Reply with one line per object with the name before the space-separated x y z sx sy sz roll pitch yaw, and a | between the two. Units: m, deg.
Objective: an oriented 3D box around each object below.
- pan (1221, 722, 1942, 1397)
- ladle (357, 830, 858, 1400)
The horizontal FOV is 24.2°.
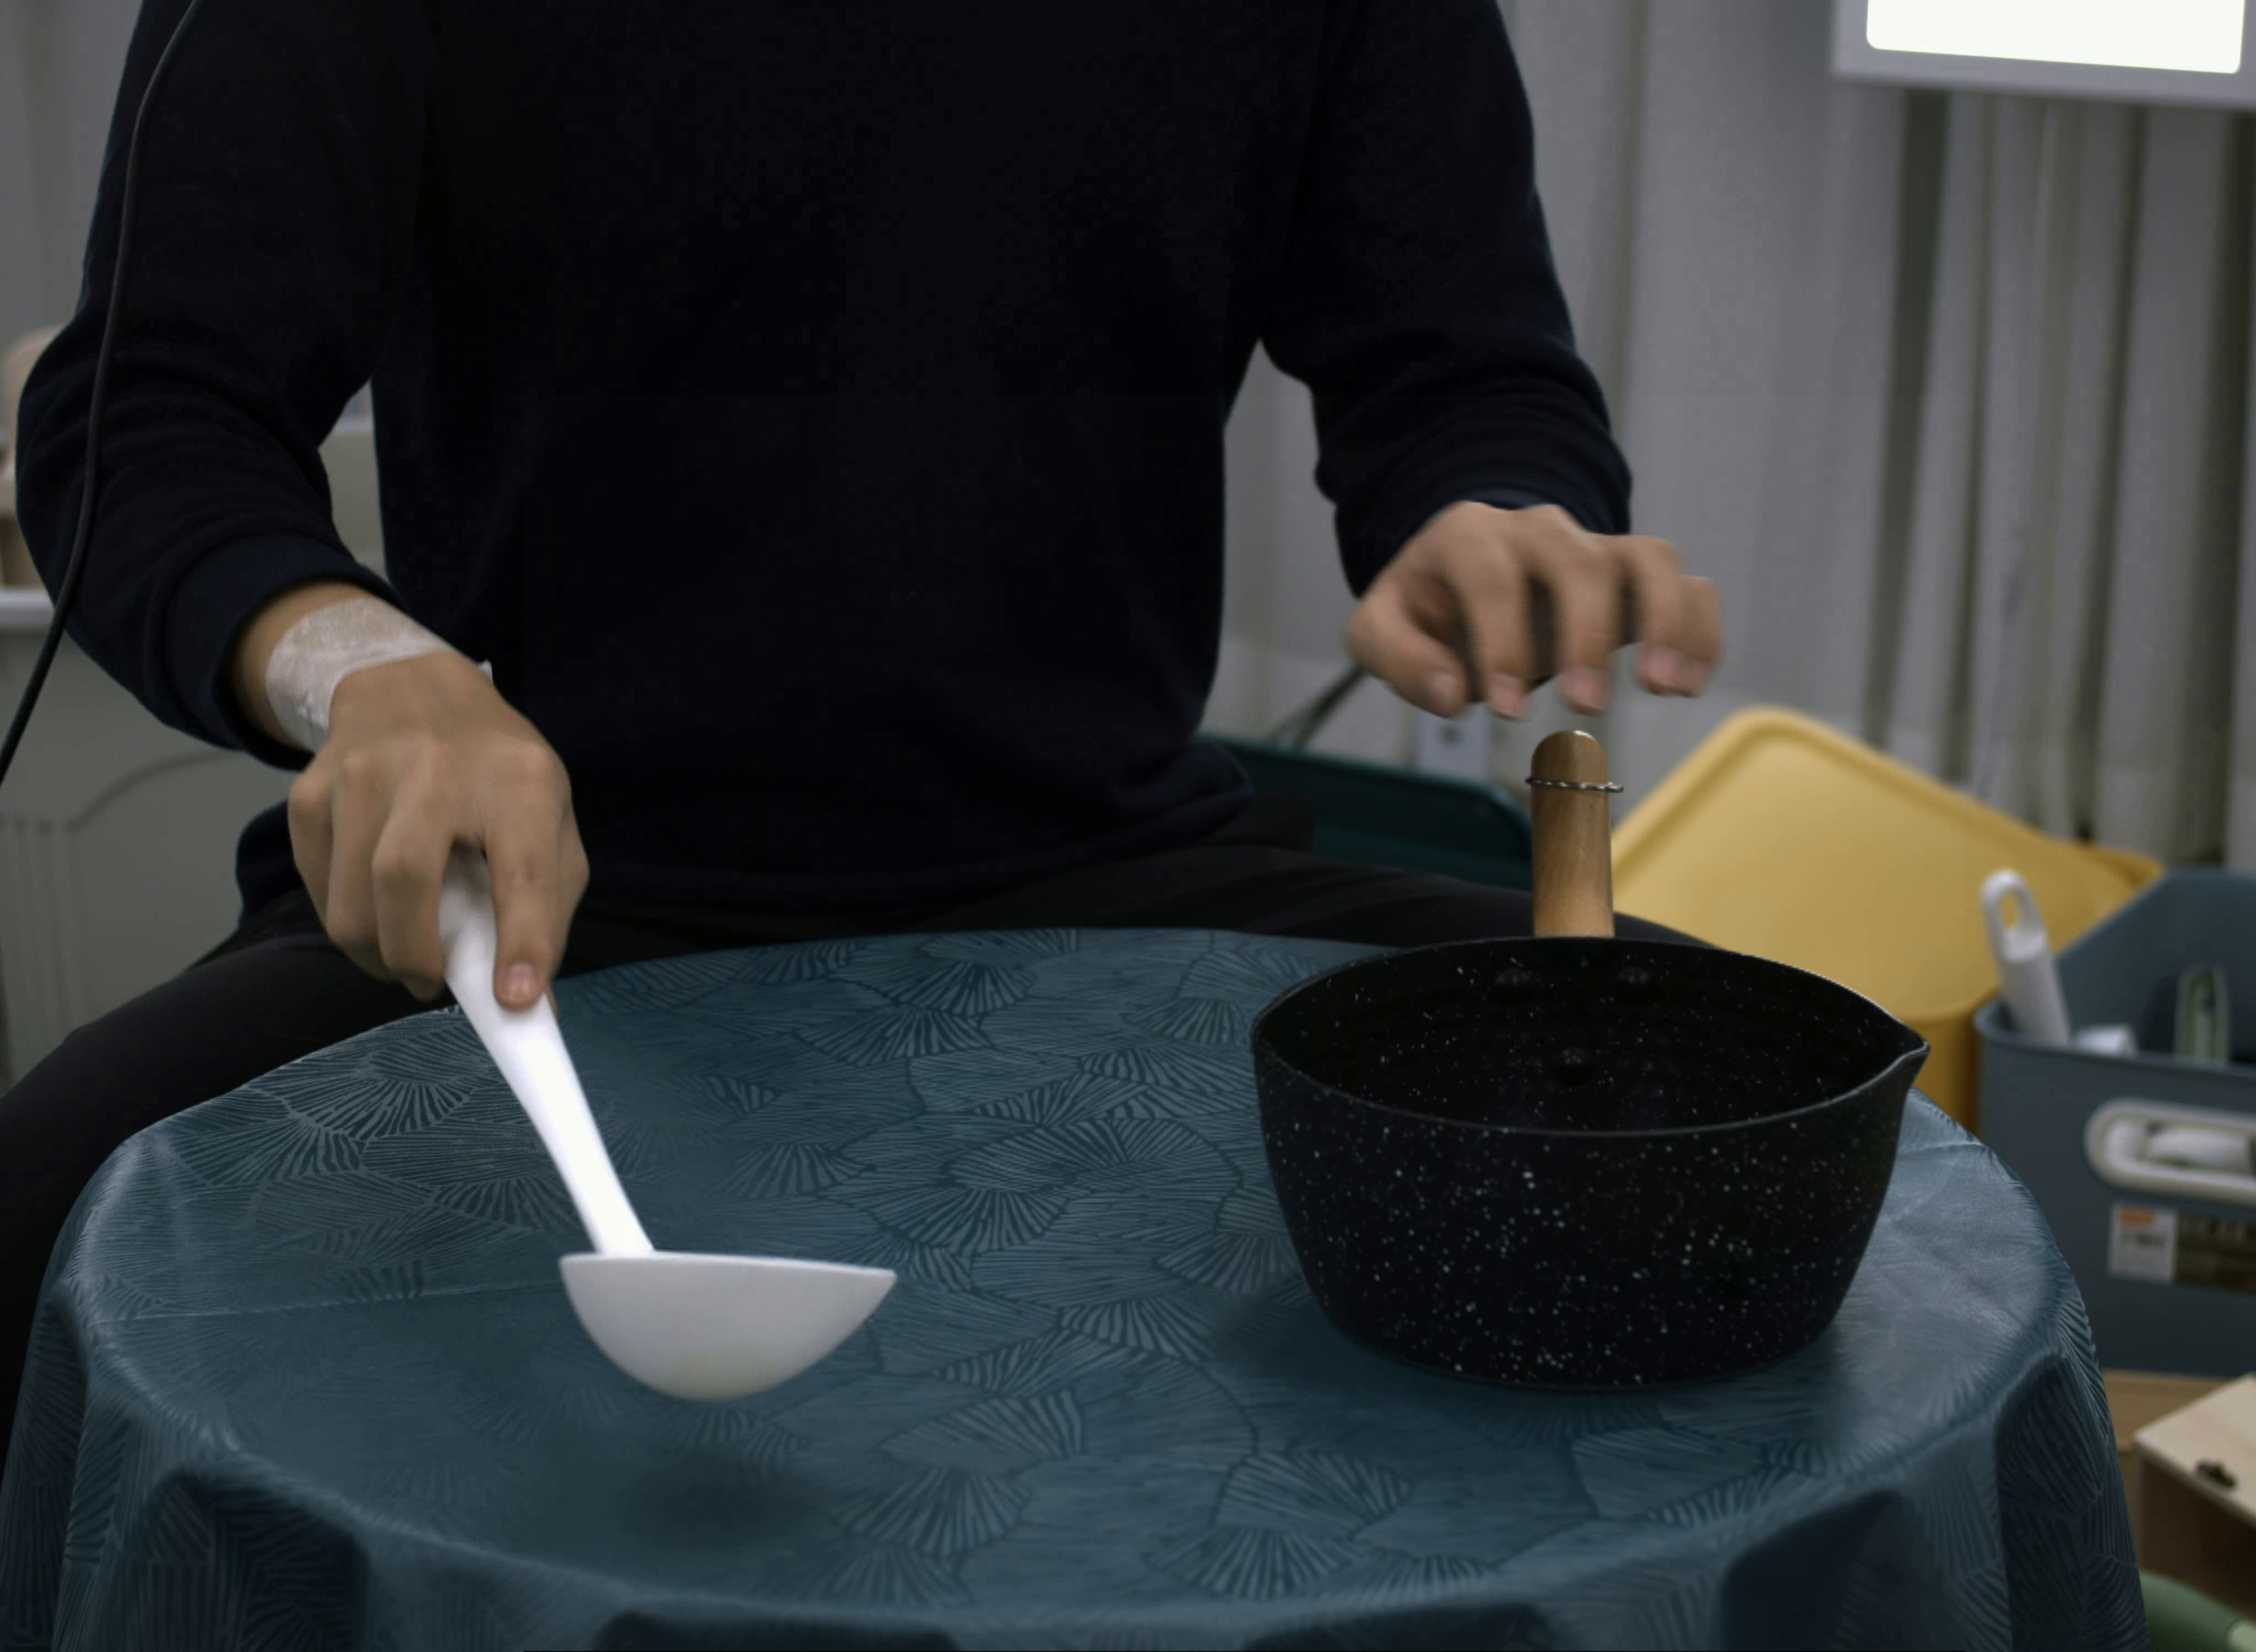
pan | 0.133 0.065 1.594 0.206 0.109 0.341 0 17 2
ladle | -0.158 0.067 1.454 0.090 0.070 0.289 -3 30 -24
